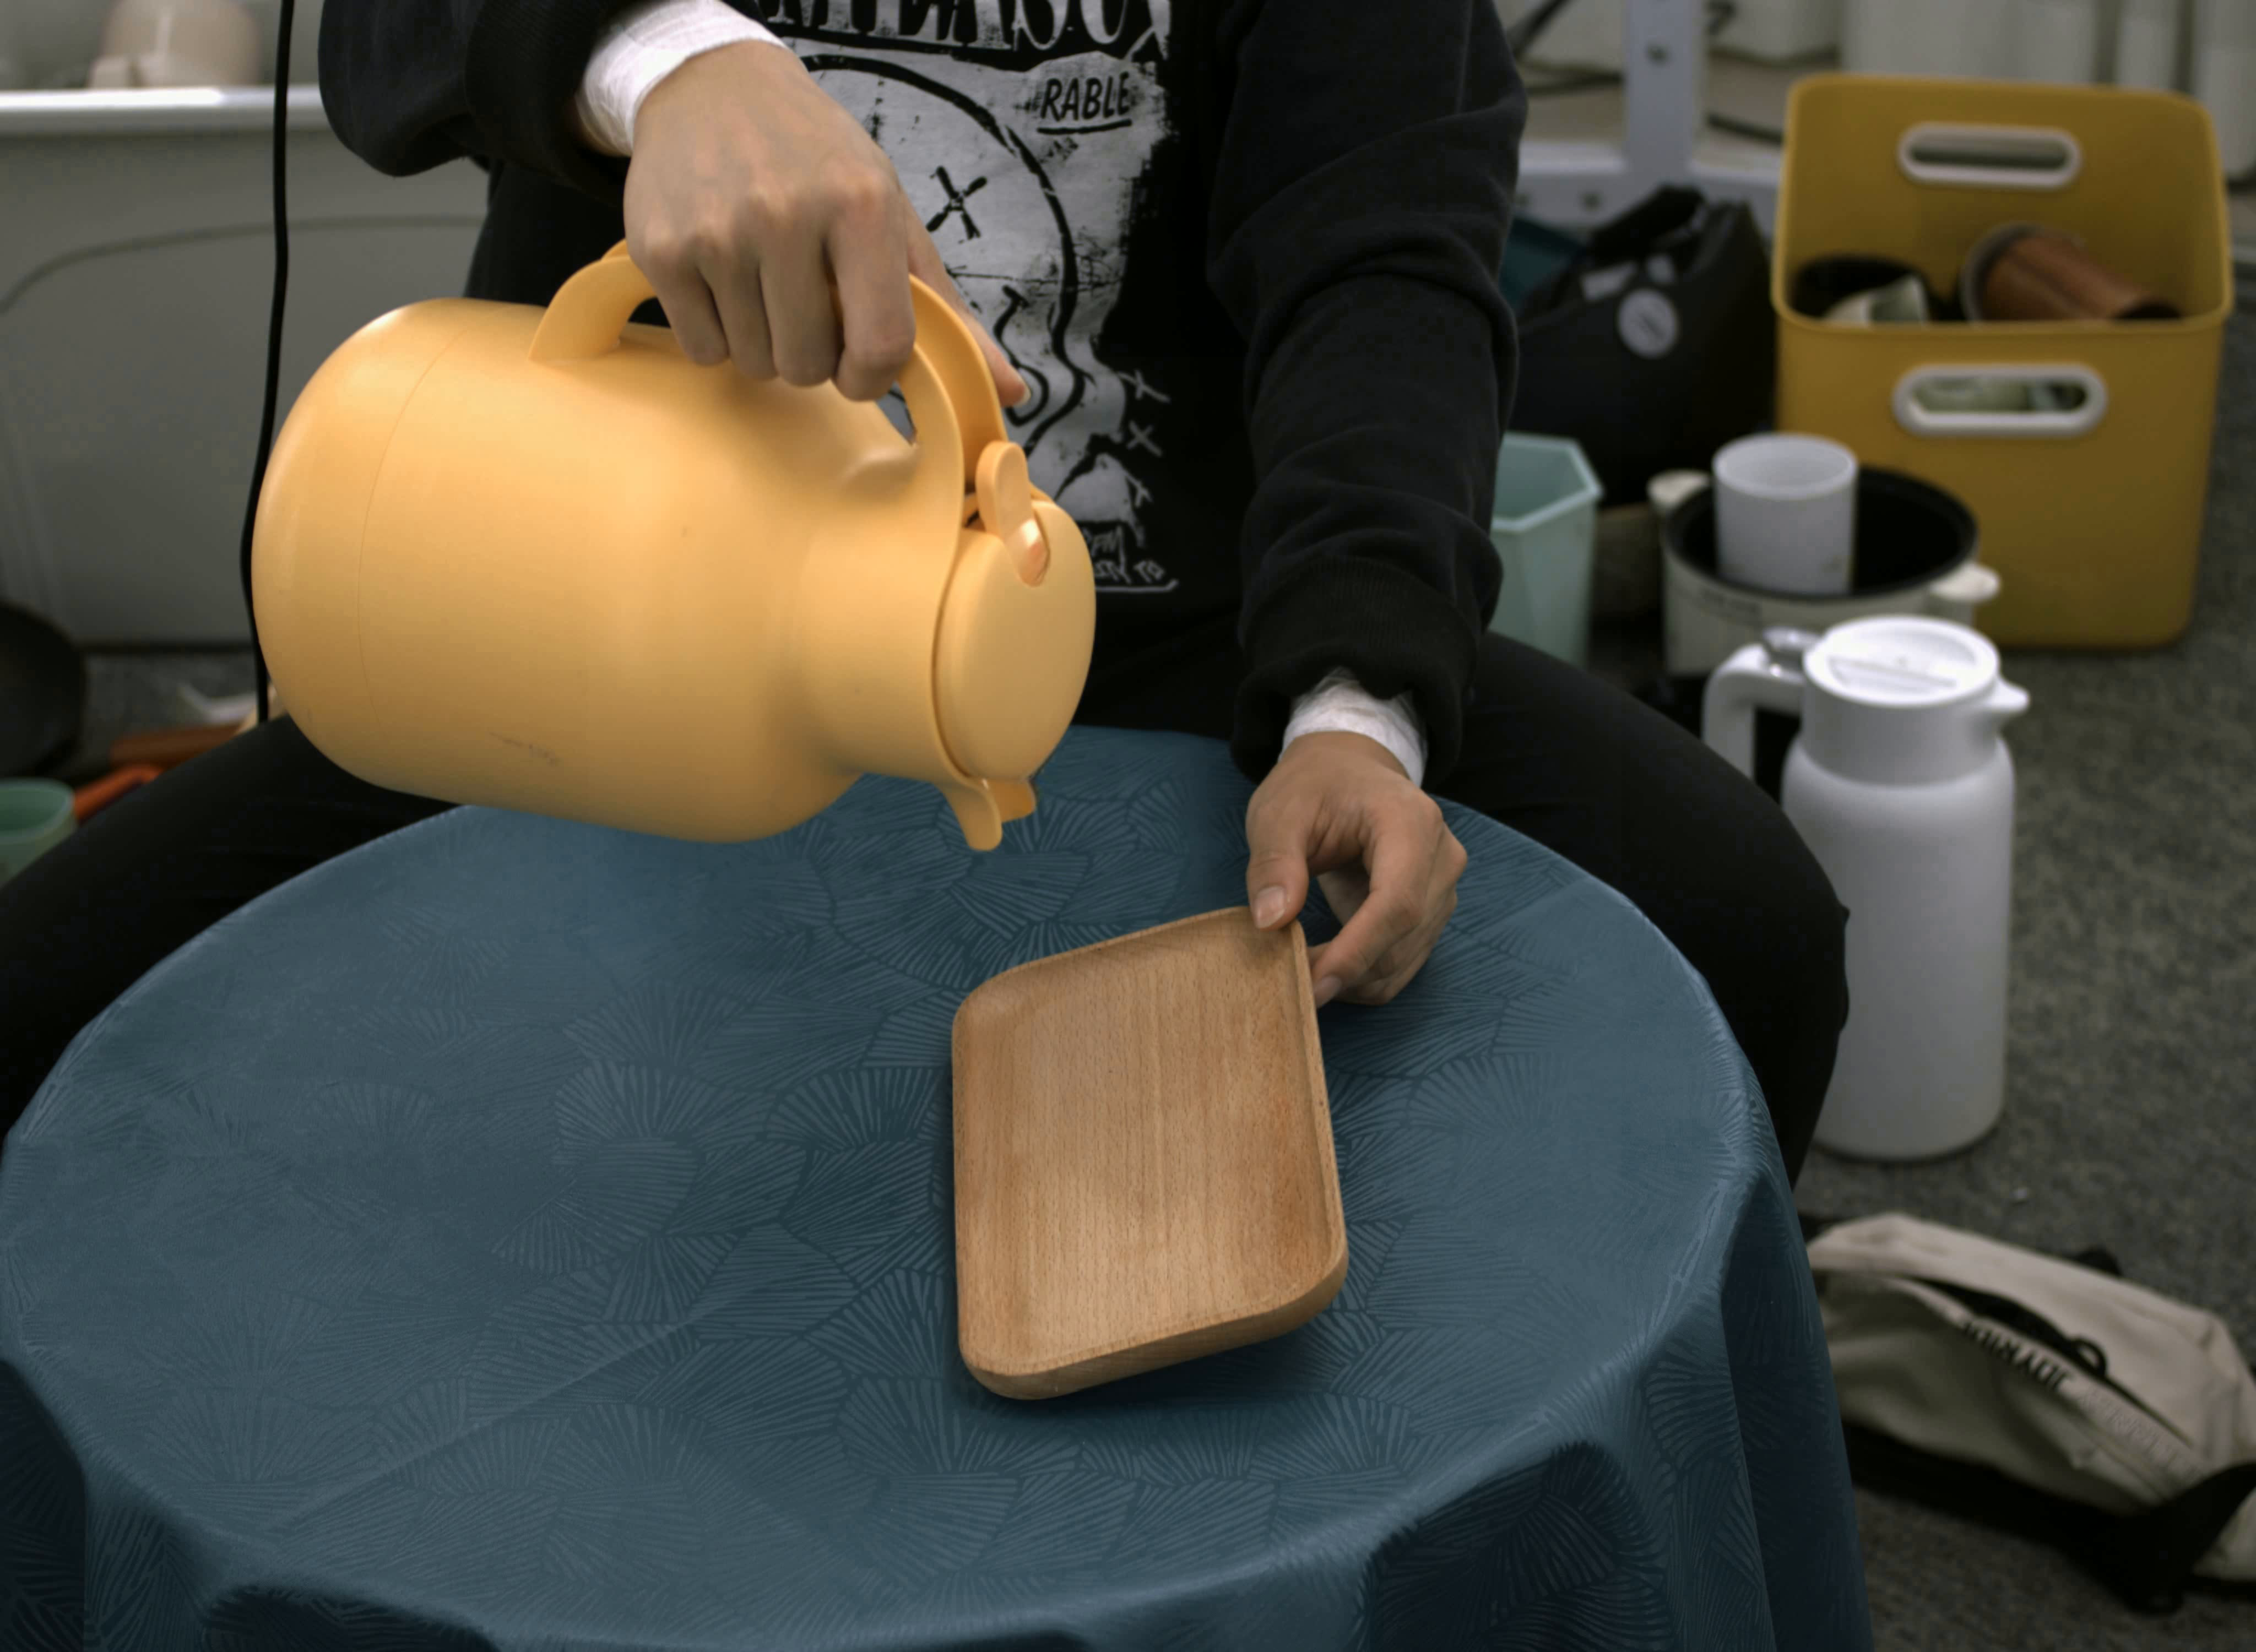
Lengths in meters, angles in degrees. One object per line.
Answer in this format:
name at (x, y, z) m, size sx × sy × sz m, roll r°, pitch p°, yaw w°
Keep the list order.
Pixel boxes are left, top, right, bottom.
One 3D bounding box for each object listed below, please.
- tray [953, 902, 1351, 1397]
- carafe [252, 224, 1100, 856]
tray at (0.005, 0.103, 1.843) m, size 0.130 × 0.022 × 0.254 m, roll -13°, pitch 27°, yaw 5°
carafe at (-0.139, -0.094, 1.782) m, size 0.258 × 0.200 × 0.166 m, roll 9°, pitch 27°, yaw 23°
